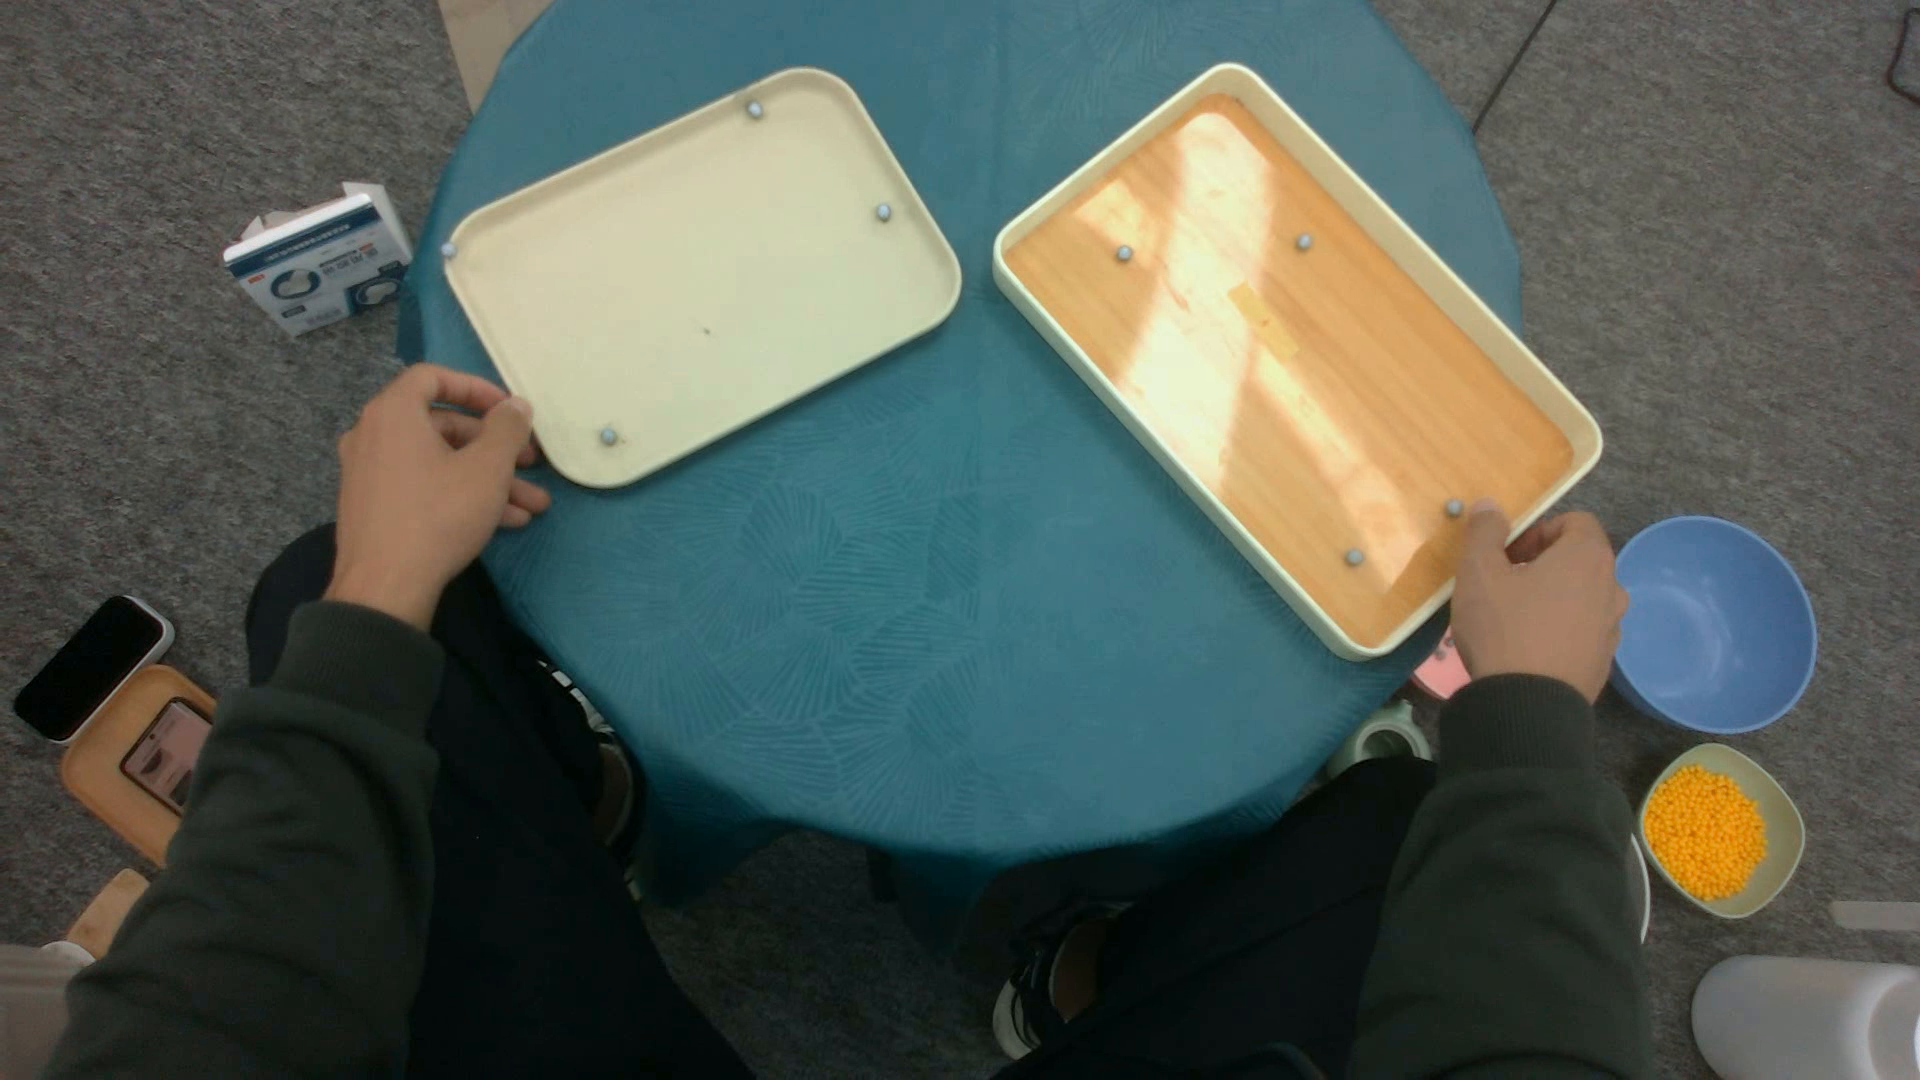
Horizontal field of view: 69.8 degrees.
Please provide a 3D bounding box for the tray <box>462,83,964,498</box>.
[{"bbox_3d":[-0.132,-0.138,0.748,0.240,0.017,0.171,-30,79,-11],"label":"tray"}]

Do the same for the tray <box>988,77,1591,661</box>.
[{"bbox_3d":[0.177,-0.100,0.755,0.192,0.027,0.300,-40,81,-13],"label":"tray"}]
